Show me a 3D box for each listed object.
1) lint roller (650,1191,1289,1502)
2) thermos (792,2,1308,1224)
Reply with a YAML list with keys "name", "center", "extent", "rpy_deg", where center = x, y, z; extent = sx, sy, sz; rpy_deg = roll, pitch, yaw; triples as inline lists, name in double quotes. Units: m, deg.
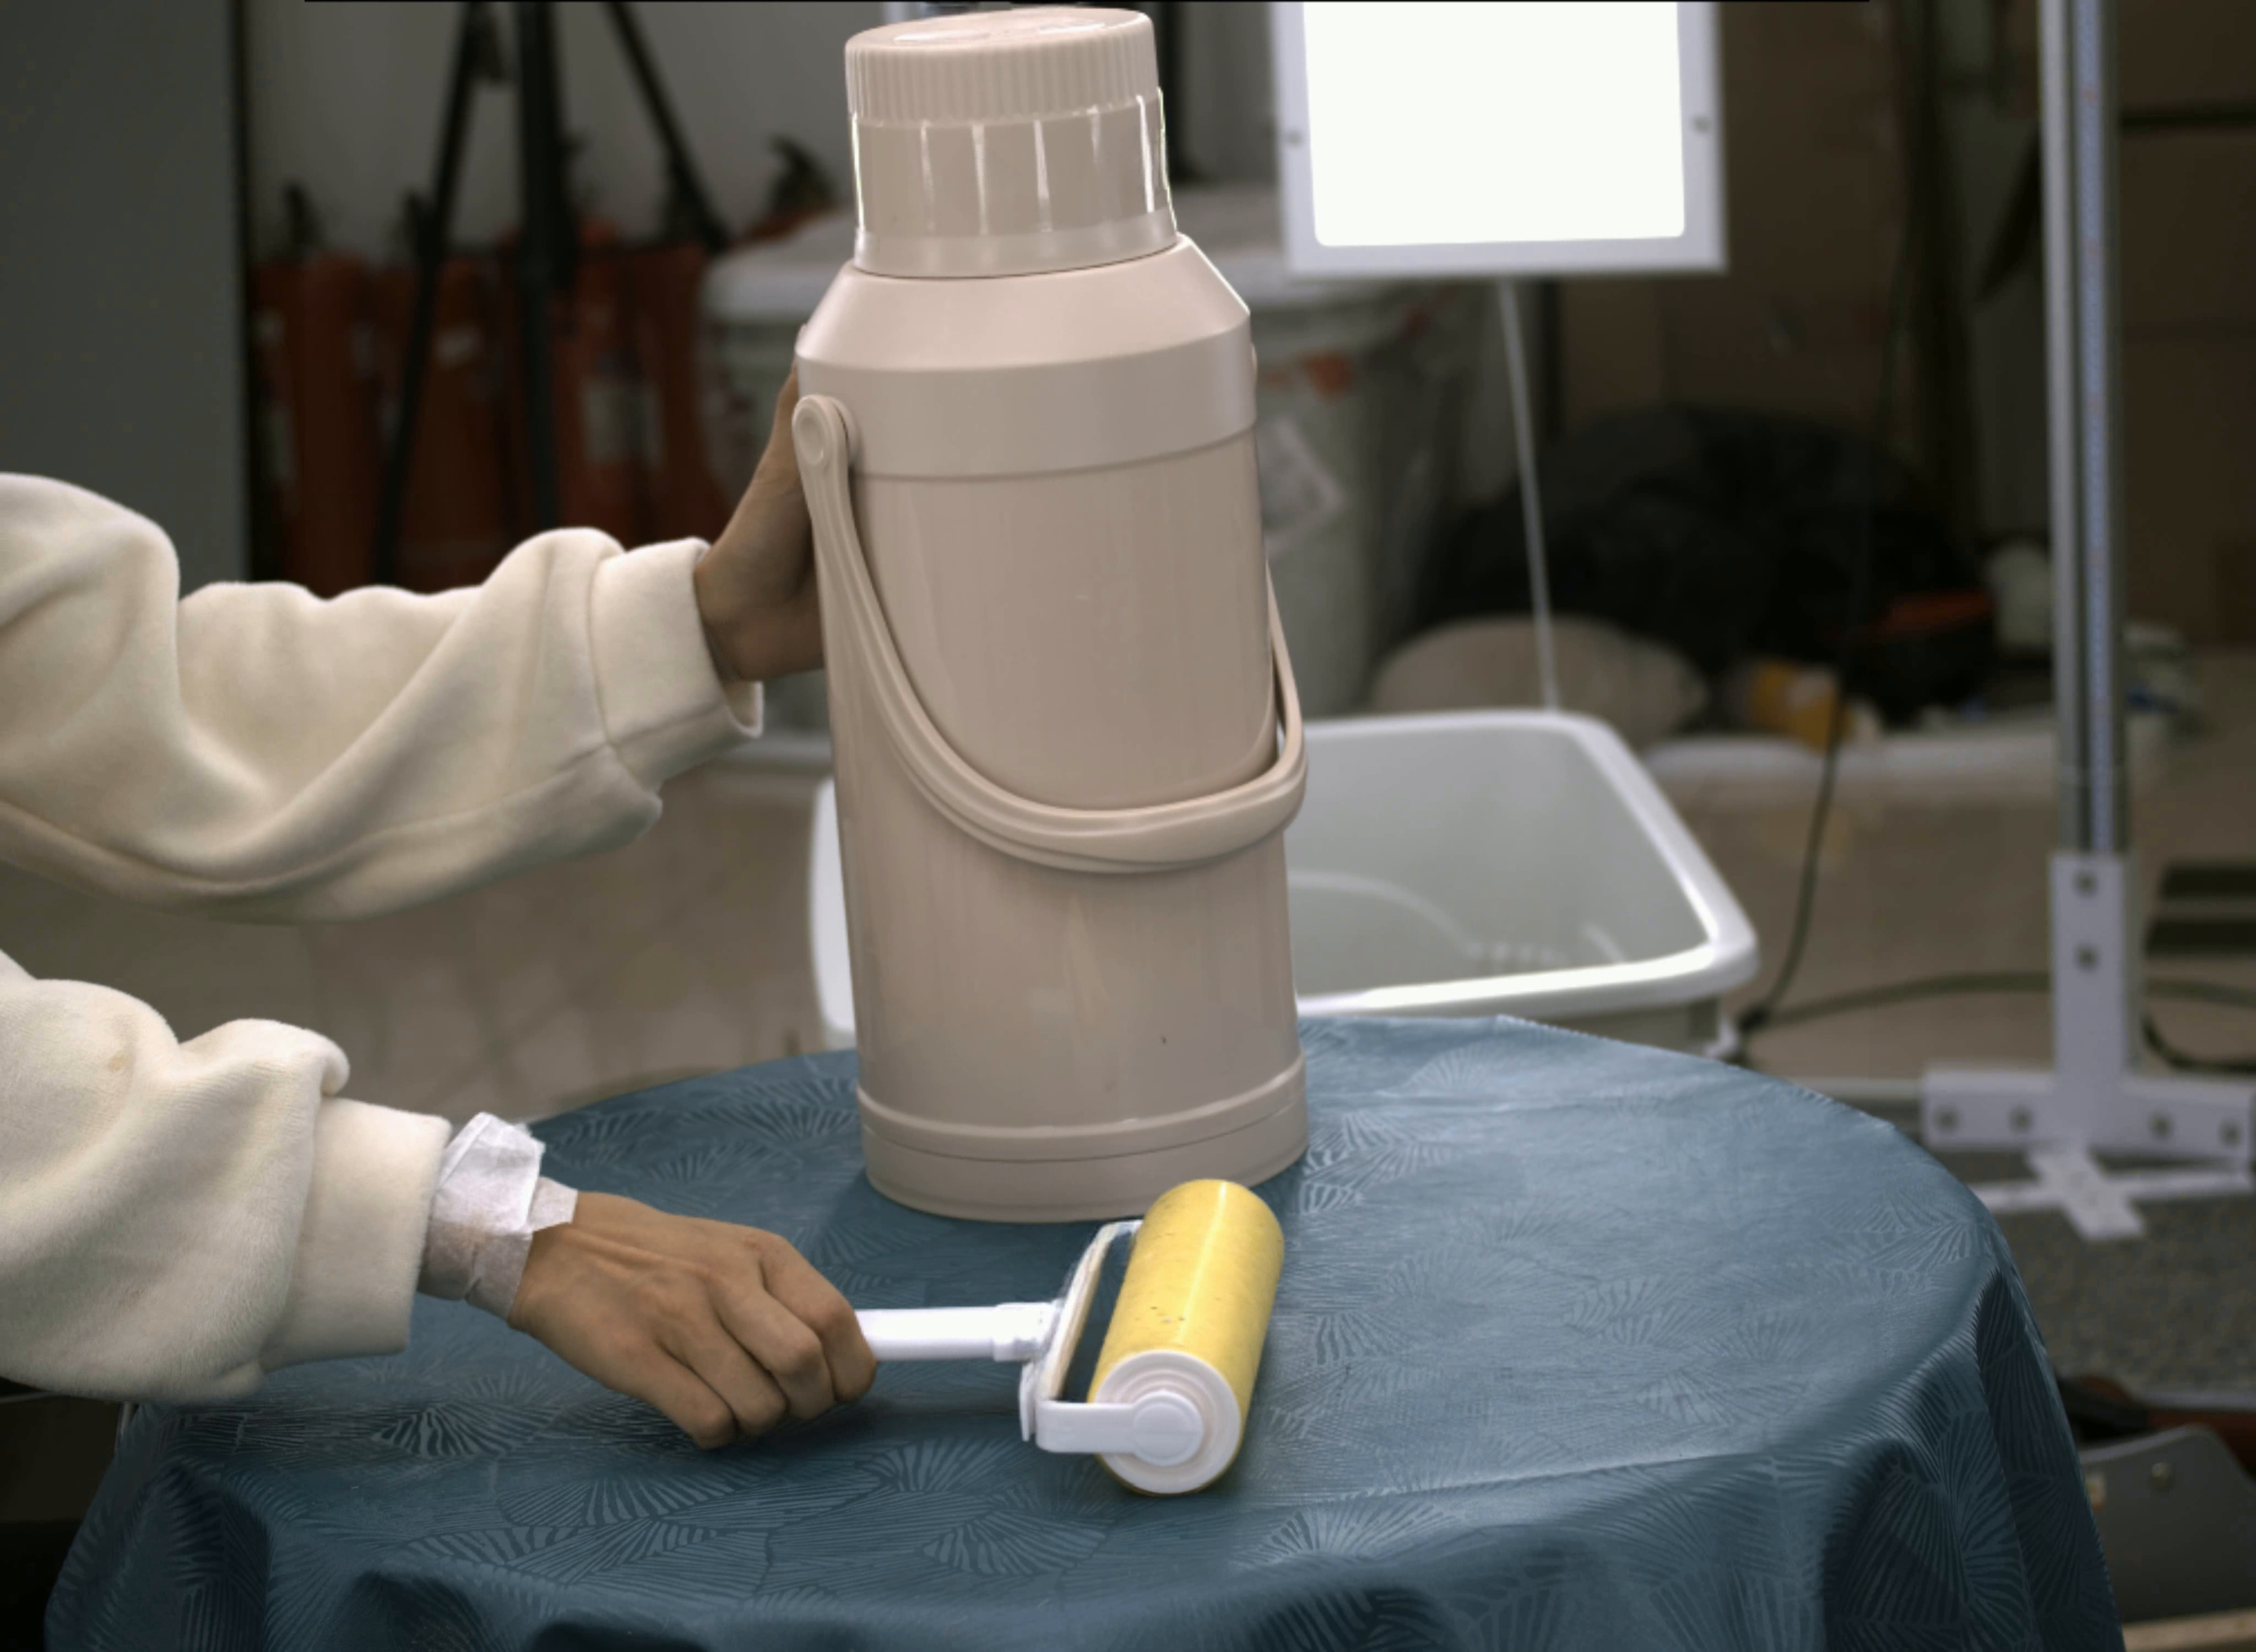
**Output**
- name: "lint roller"
  center: [-0.050, 0.146, 1.686]
  extent: [0.192, 0.052, 0.173]
  rpy_deg: [10, 15, 4]
- name: "thermos"
  center: [-0.036, -0.077, 1.909]
  extent: [0.171, 0.408, 0.211]
  rpy_deg: [-14, 16, -31]
